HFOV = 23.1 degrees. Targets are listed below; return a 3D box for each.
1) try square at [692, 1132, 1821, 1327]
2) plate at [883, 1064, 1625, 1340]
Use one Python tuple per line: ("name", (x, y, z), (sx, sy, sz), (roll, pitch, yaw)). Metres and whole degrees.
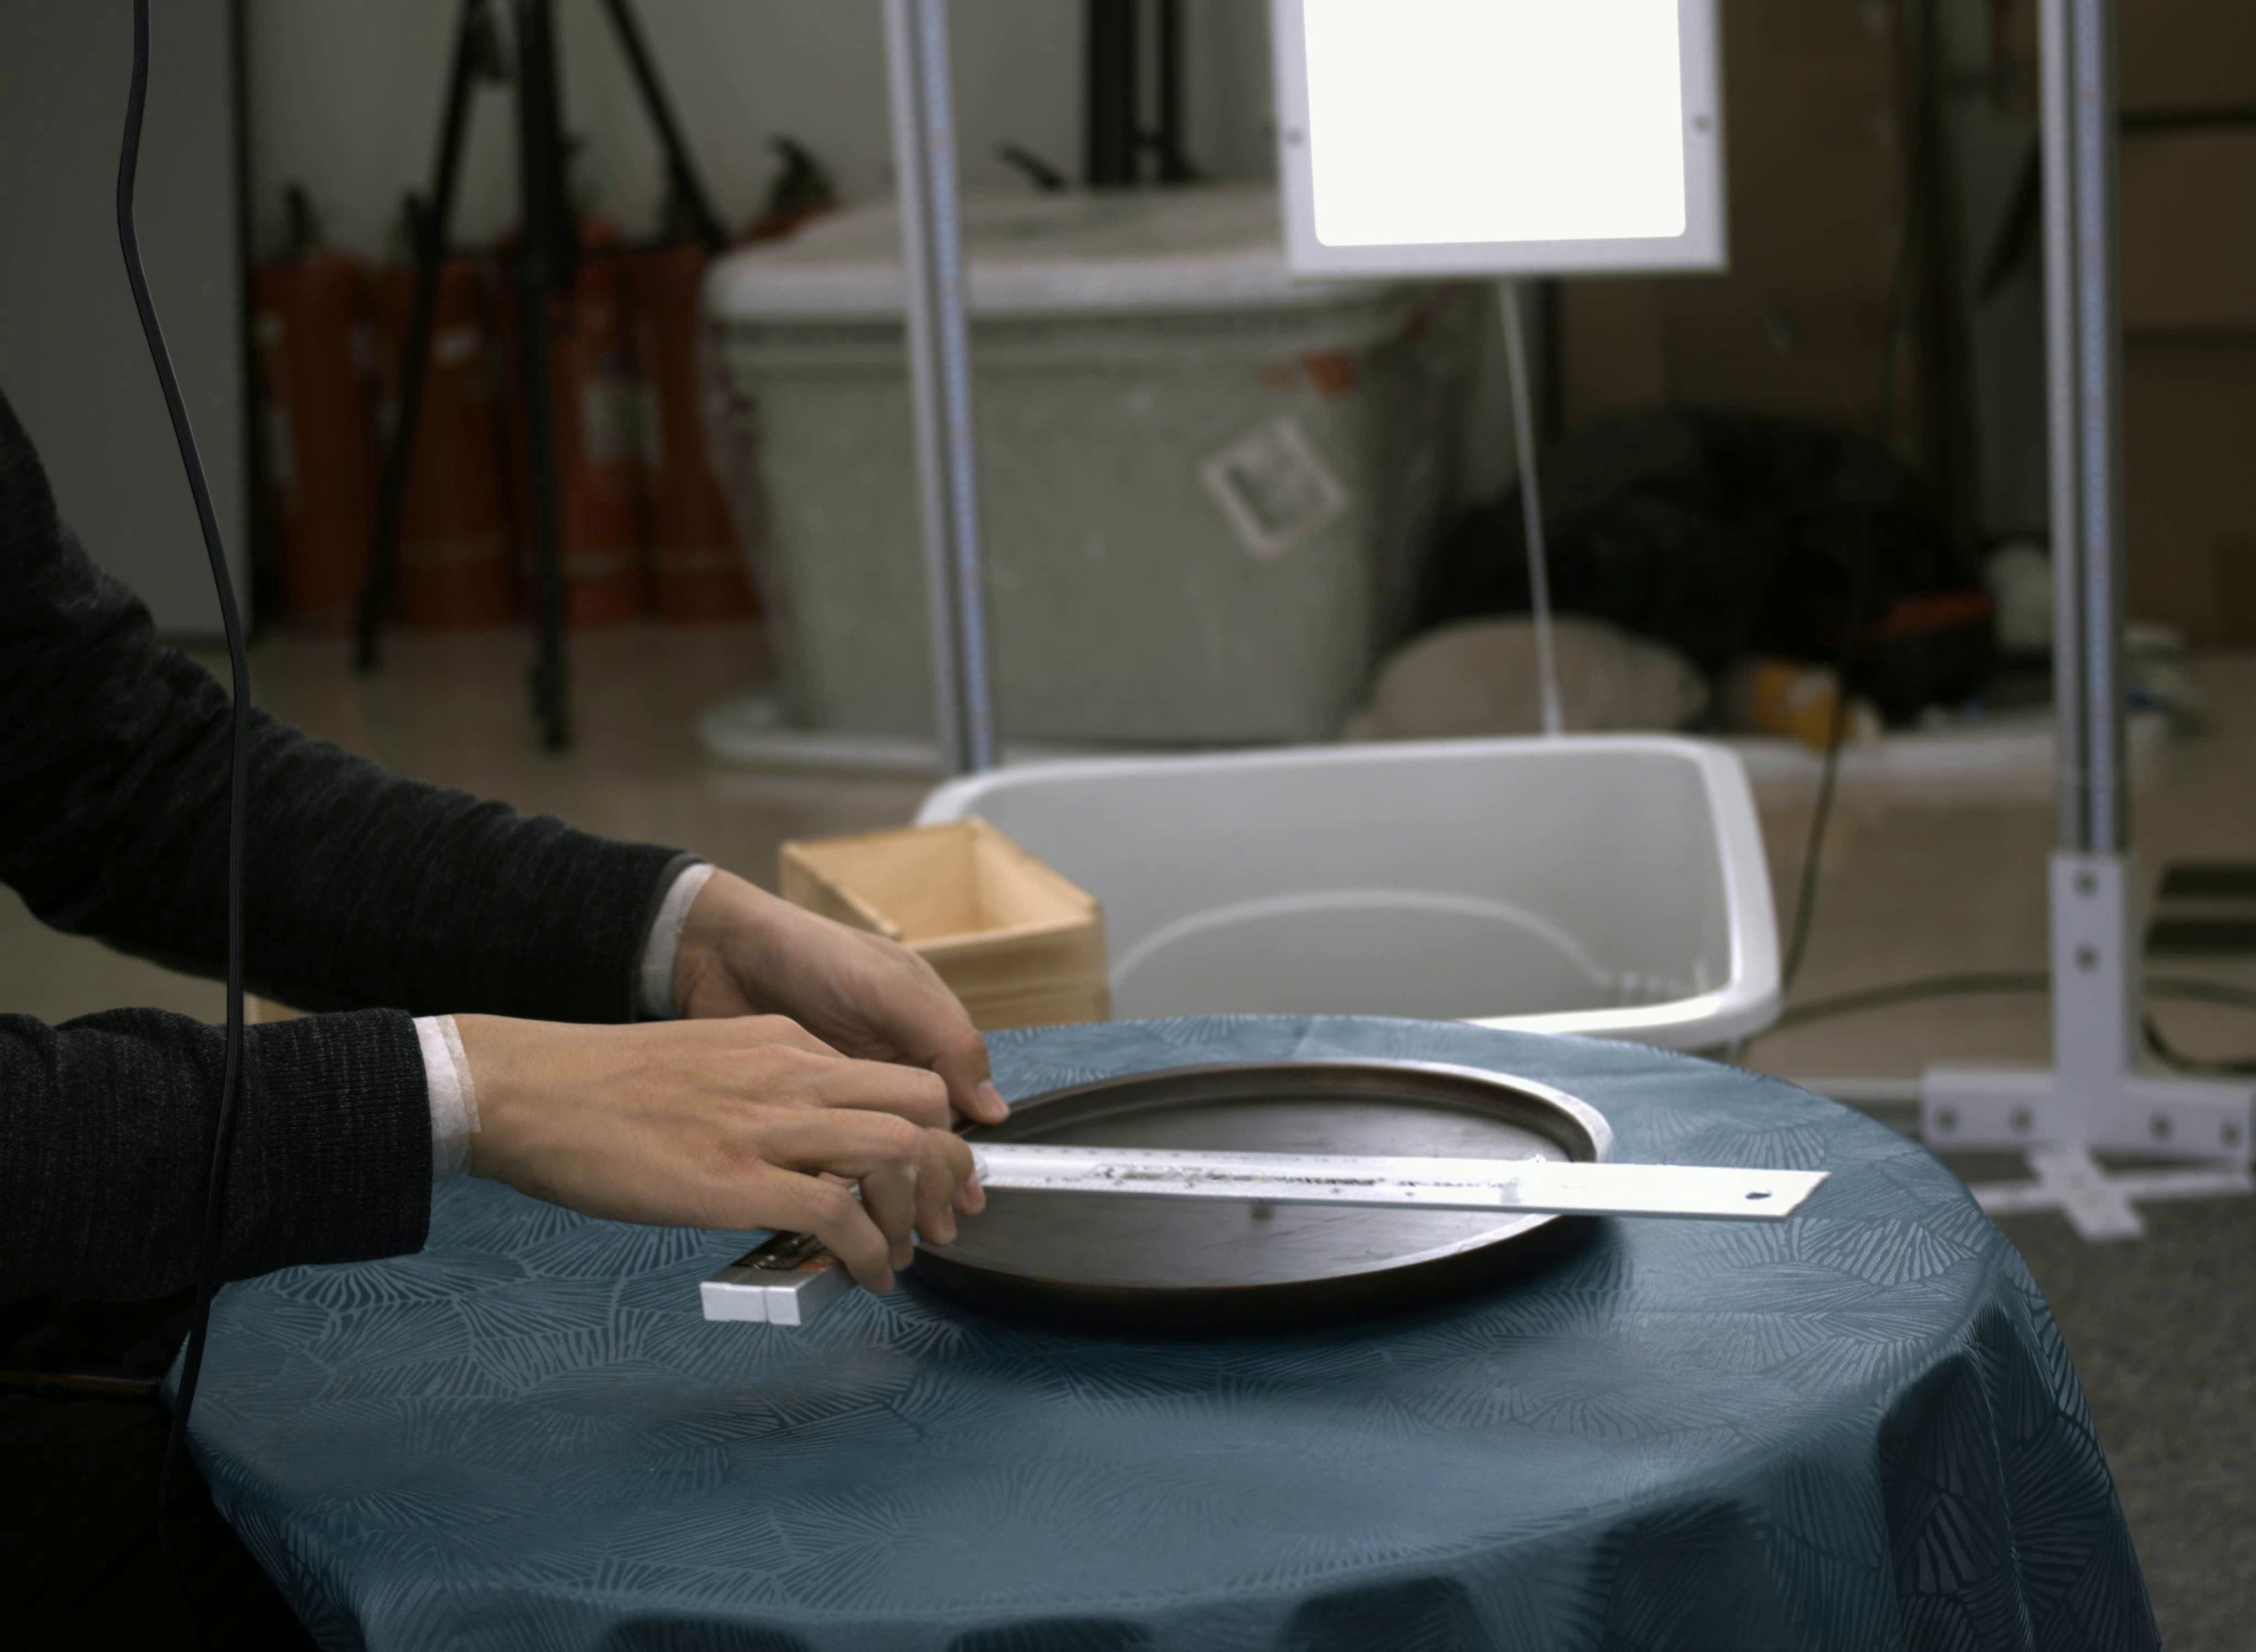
("try square", (0.037, 0.123, 1.655), (0.319, 0.016, 0.149), (0, 17, 31))
("plate", (0.041, 0.123, 1.847), (0.254, 0.029, 0.254), (-4, 14, 0))
